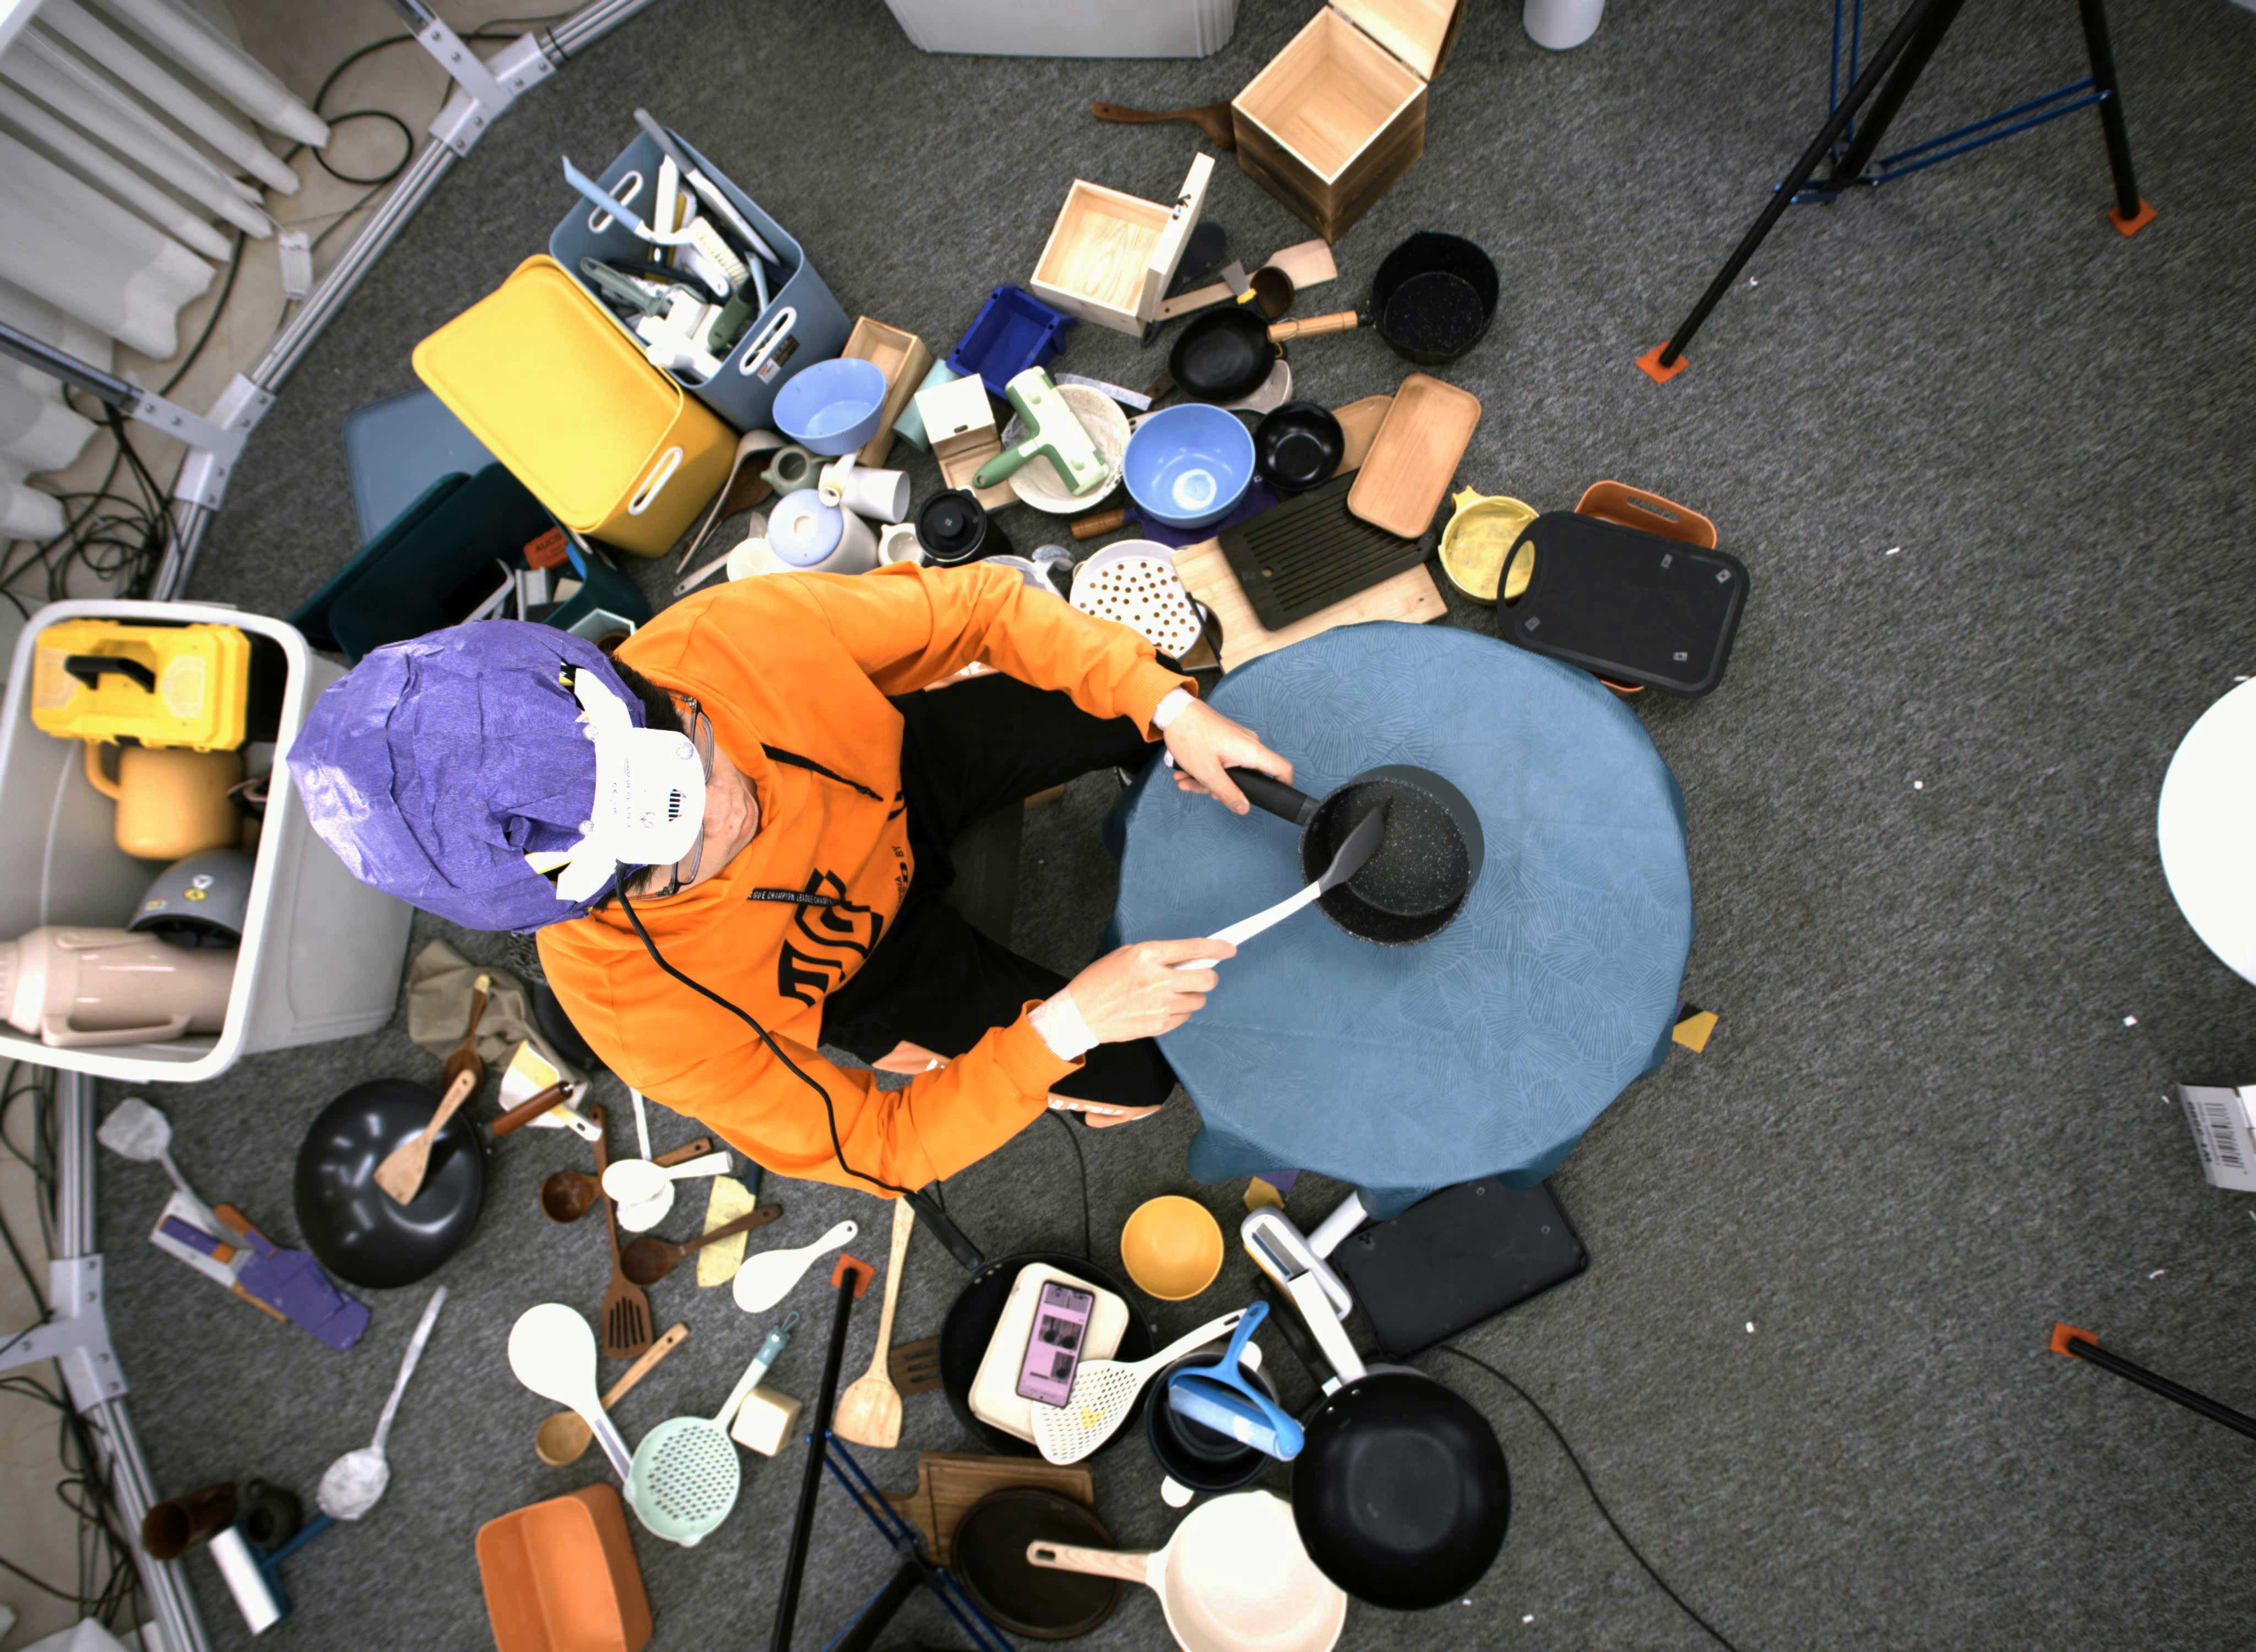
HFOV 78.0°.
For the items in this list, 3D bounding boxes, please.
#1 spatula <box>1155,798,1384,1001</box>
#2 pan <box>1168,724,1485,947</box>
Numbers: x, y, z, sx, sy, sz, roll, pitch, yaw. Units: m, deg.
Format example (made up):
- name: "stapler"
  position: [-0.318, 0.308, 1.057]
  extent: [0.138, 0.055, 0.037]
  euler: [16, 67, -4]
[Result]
- name: "spatula"
  position: [0.146, 0.071, 1.332]
  extent: [0.285, 0.060, 0.032]
  euler: [-36, 41, -15]
- name: "pan"
  position: [0.194, -0.014, 1.366]
  extent: [0.328, 0.085, 0.176]
  euler: [31, 119, 13]
